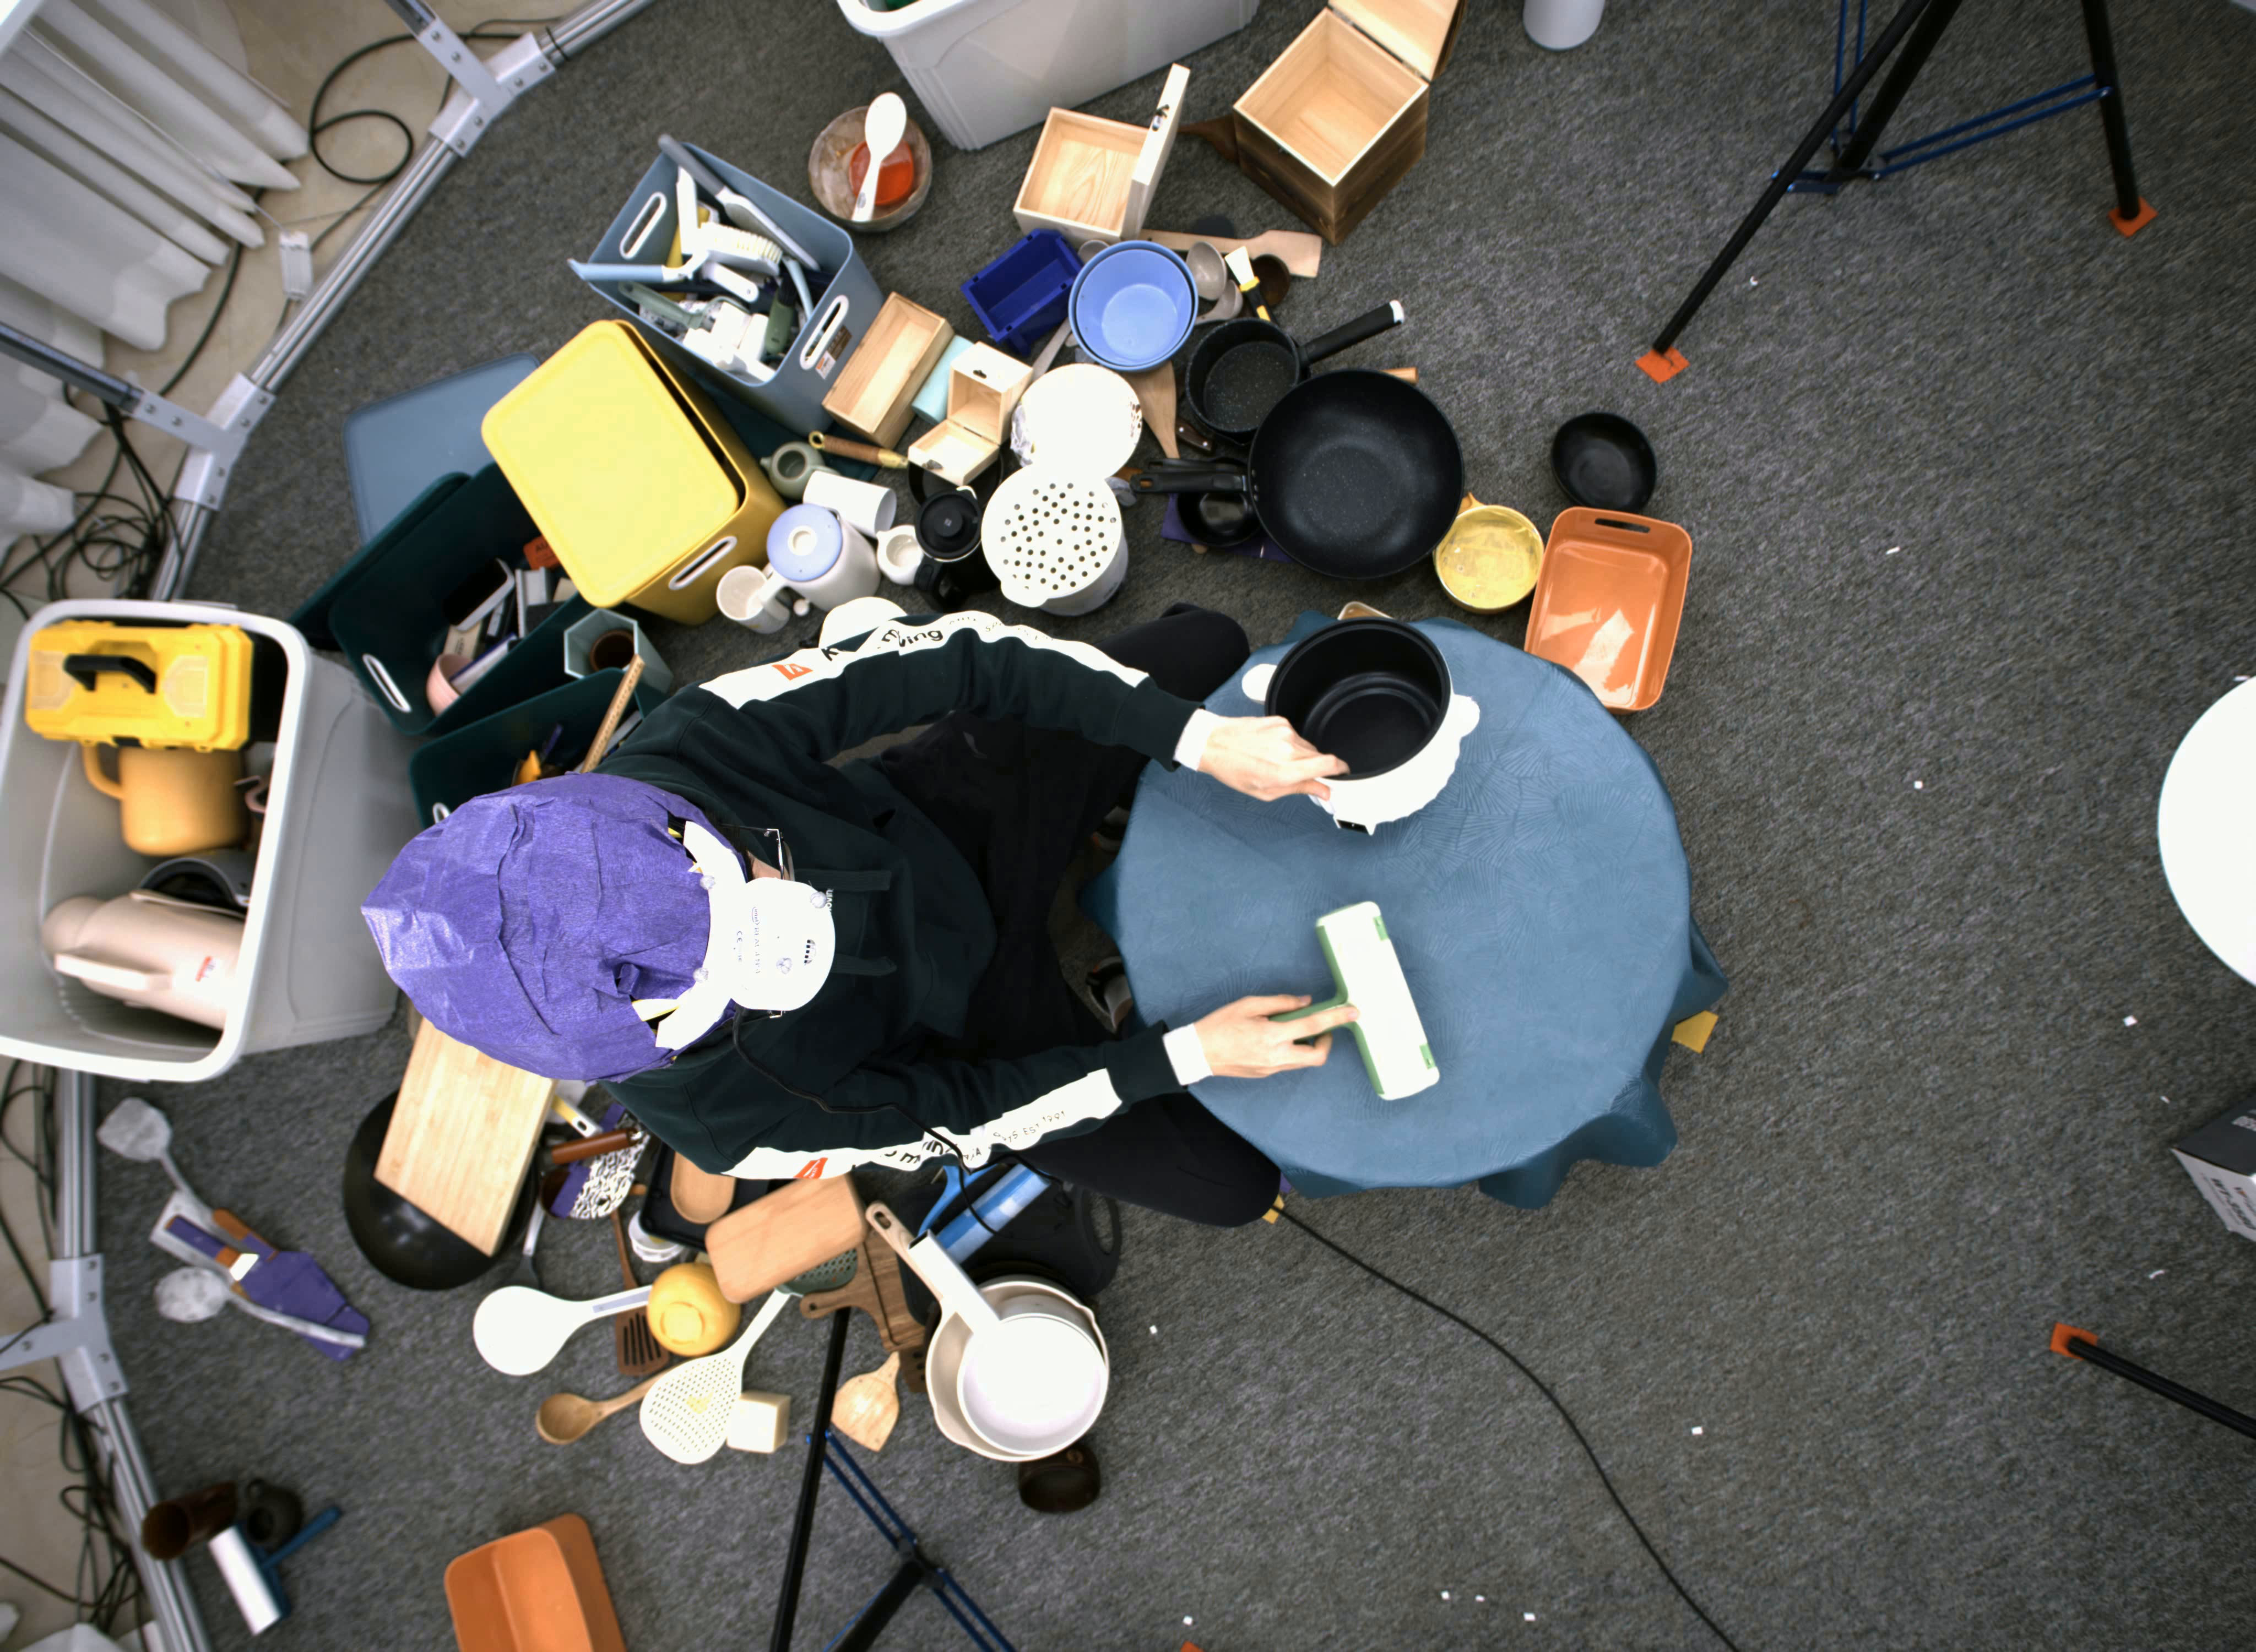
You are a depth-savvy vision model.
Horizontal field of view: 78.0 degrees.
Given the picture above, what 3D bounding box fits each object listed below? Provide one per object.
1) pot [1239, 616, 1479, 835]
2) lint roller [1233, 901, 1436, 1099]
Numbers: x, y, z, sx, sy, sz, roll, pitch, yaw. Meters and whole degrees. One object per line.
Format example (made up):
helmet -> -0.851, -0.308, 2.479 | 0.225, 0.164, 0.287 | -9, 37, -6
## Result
pot -> 0.240, -0.103, 1.370 | 0.241, 0.144, 0.188 | 13, 75, 26
lint roller -> 0.192, 0.194, 1.390 | 0.184, 0.082, 0.198 | -20, 90, 5
